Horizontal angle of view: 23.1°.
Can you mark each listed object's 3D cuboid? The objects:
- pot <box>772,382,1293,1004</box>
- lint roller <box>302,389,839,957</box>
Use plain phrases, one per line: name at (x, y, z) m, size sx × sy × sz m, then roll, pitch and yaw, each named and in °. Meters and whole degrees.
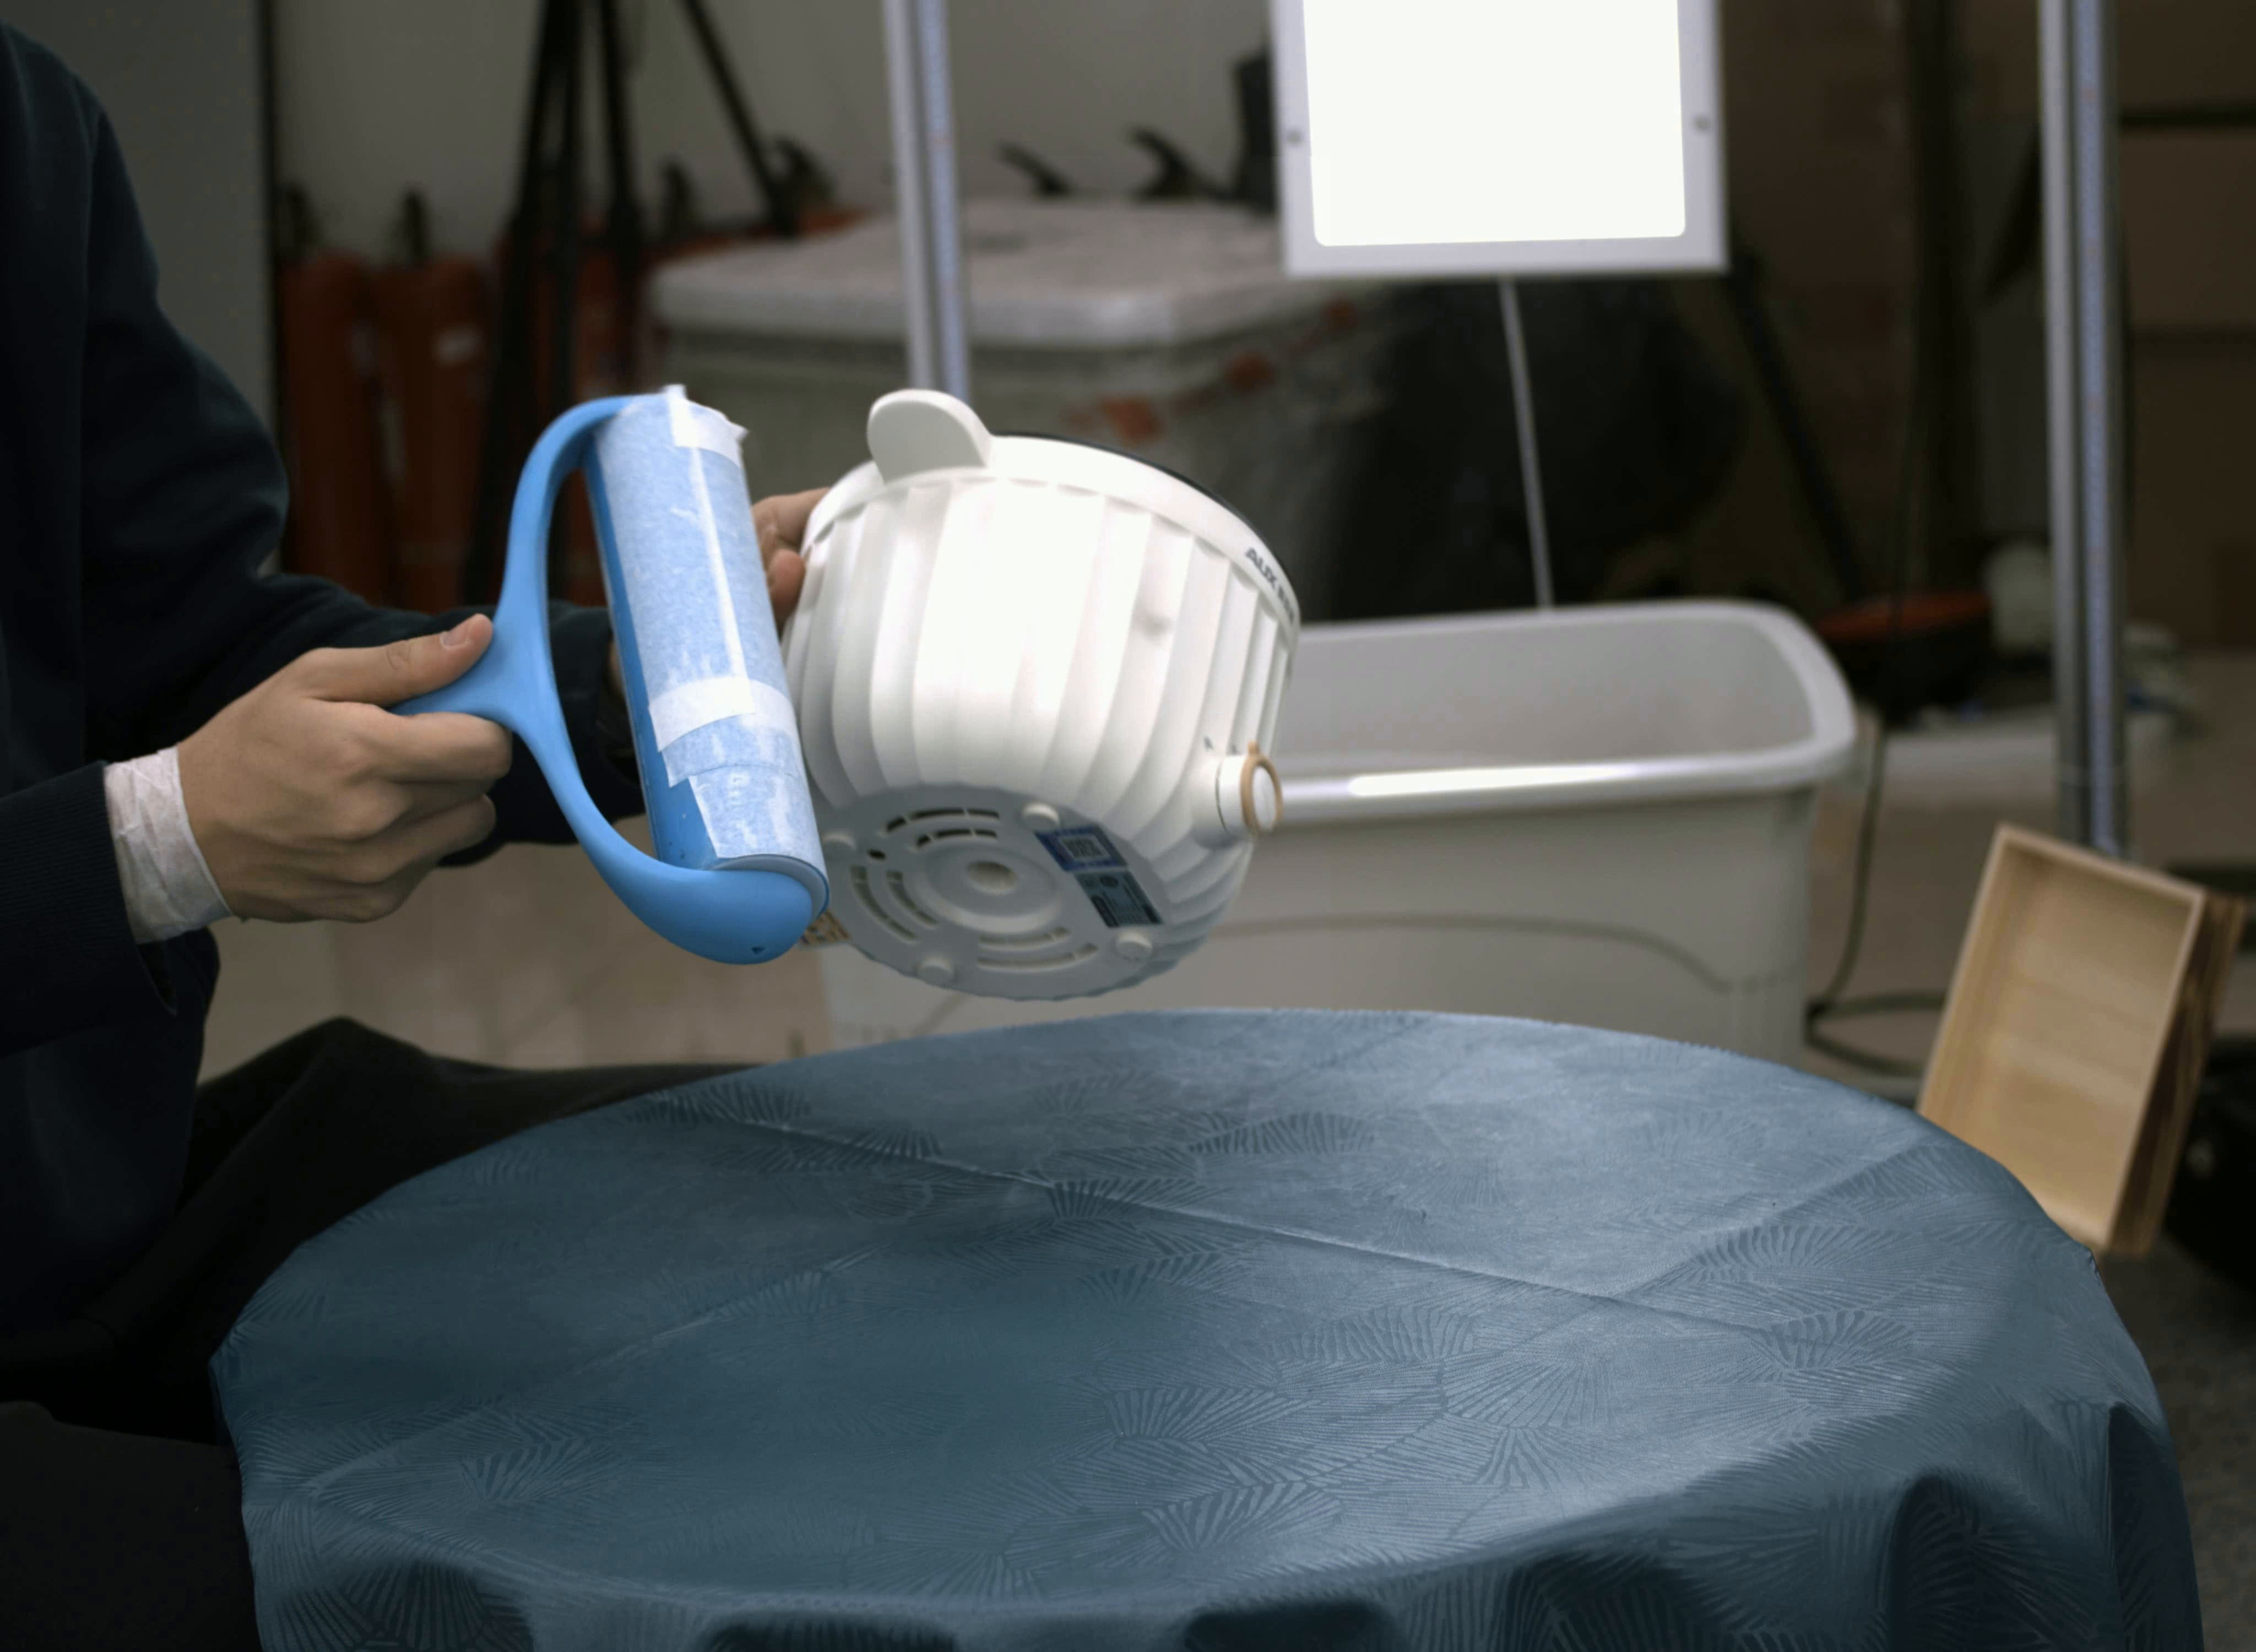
pot at (-0.034, -0.030, 1.922) m, size 0.193 × 0.238 × 0.142 m, roll -10°, pitch 50°, yaw 23°
lint roller at (-0.197, -0.034, 1.824) m, size 0.180 × 0.067 × 0.230 m, roll -20°, pitch 56°, yaw 3°
